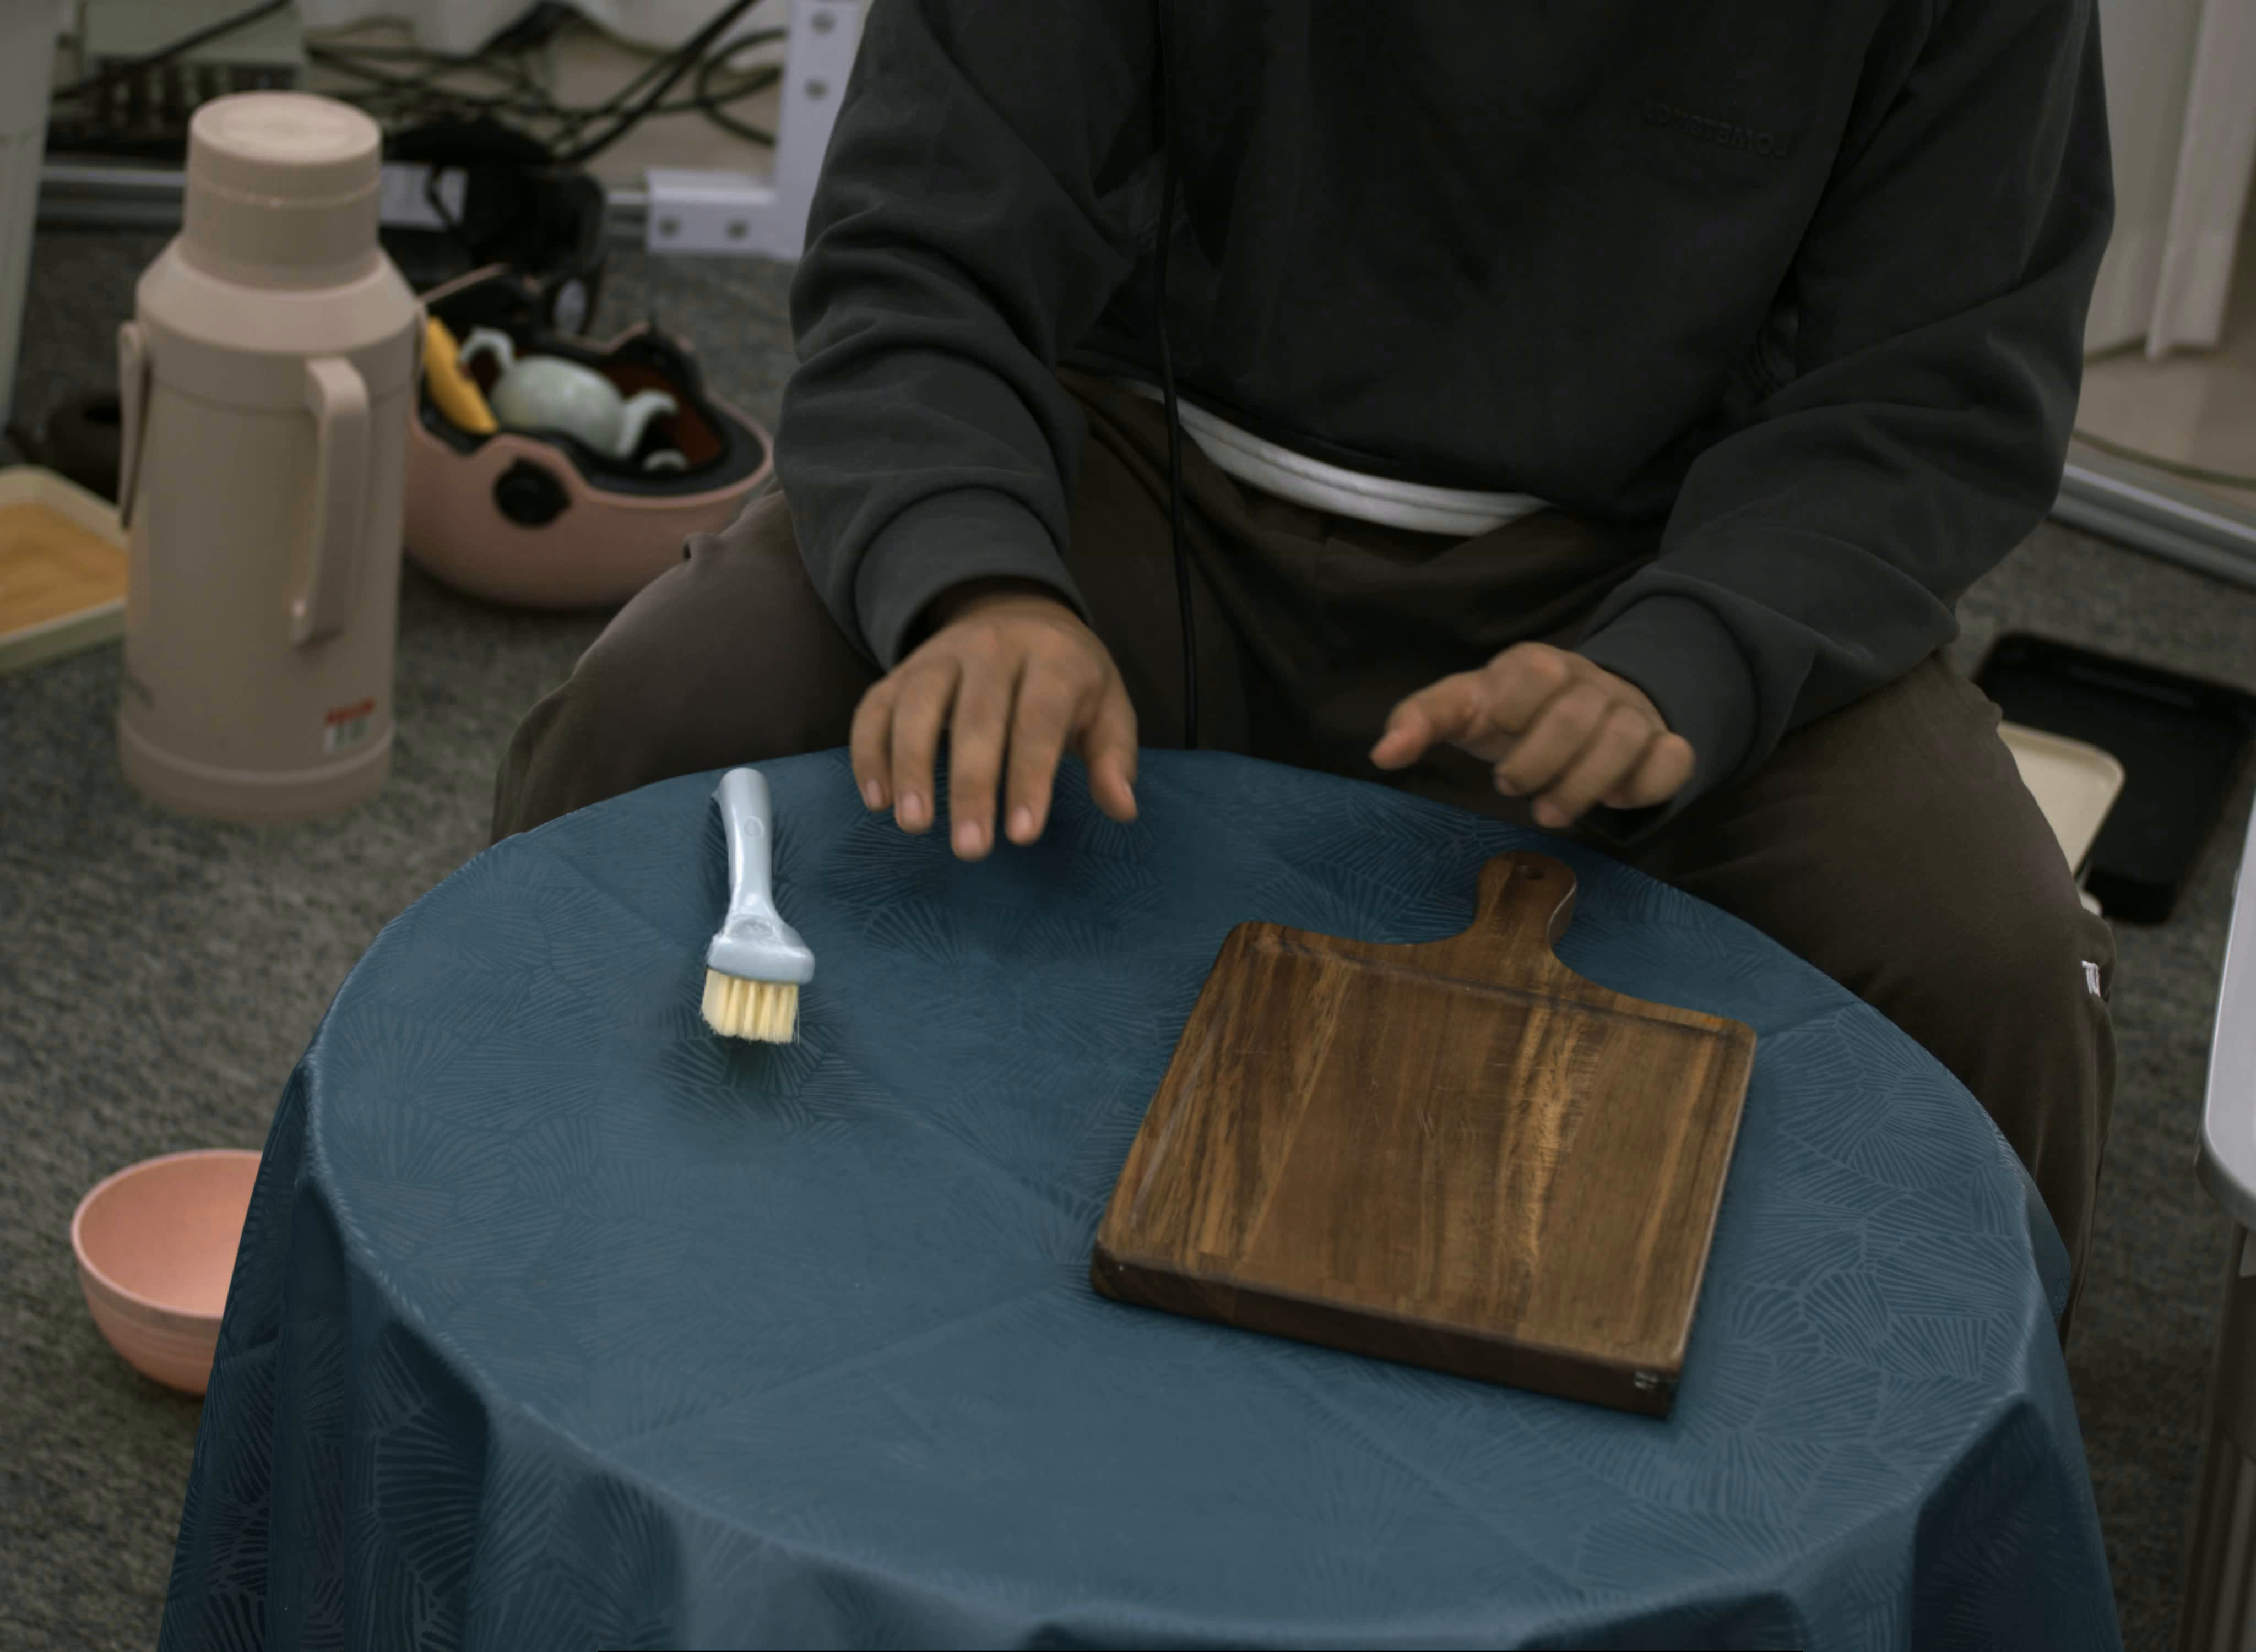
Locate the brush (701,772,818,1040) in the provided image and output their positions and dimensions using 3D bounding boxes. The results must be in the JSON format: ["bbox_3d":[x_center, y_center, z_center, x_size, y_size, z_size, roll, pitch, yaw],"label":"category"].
[{"bbox_3d":[-0.139,0.029,1.925,0.037,0.049,0.230,9,17,-11],"label":"brush"}]

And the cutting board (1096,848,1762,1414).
[{"bbox_3d":[0.119,0.091,1.876,0.201,0.023,0.353,12,27,9],"label":"cutting board"}]
